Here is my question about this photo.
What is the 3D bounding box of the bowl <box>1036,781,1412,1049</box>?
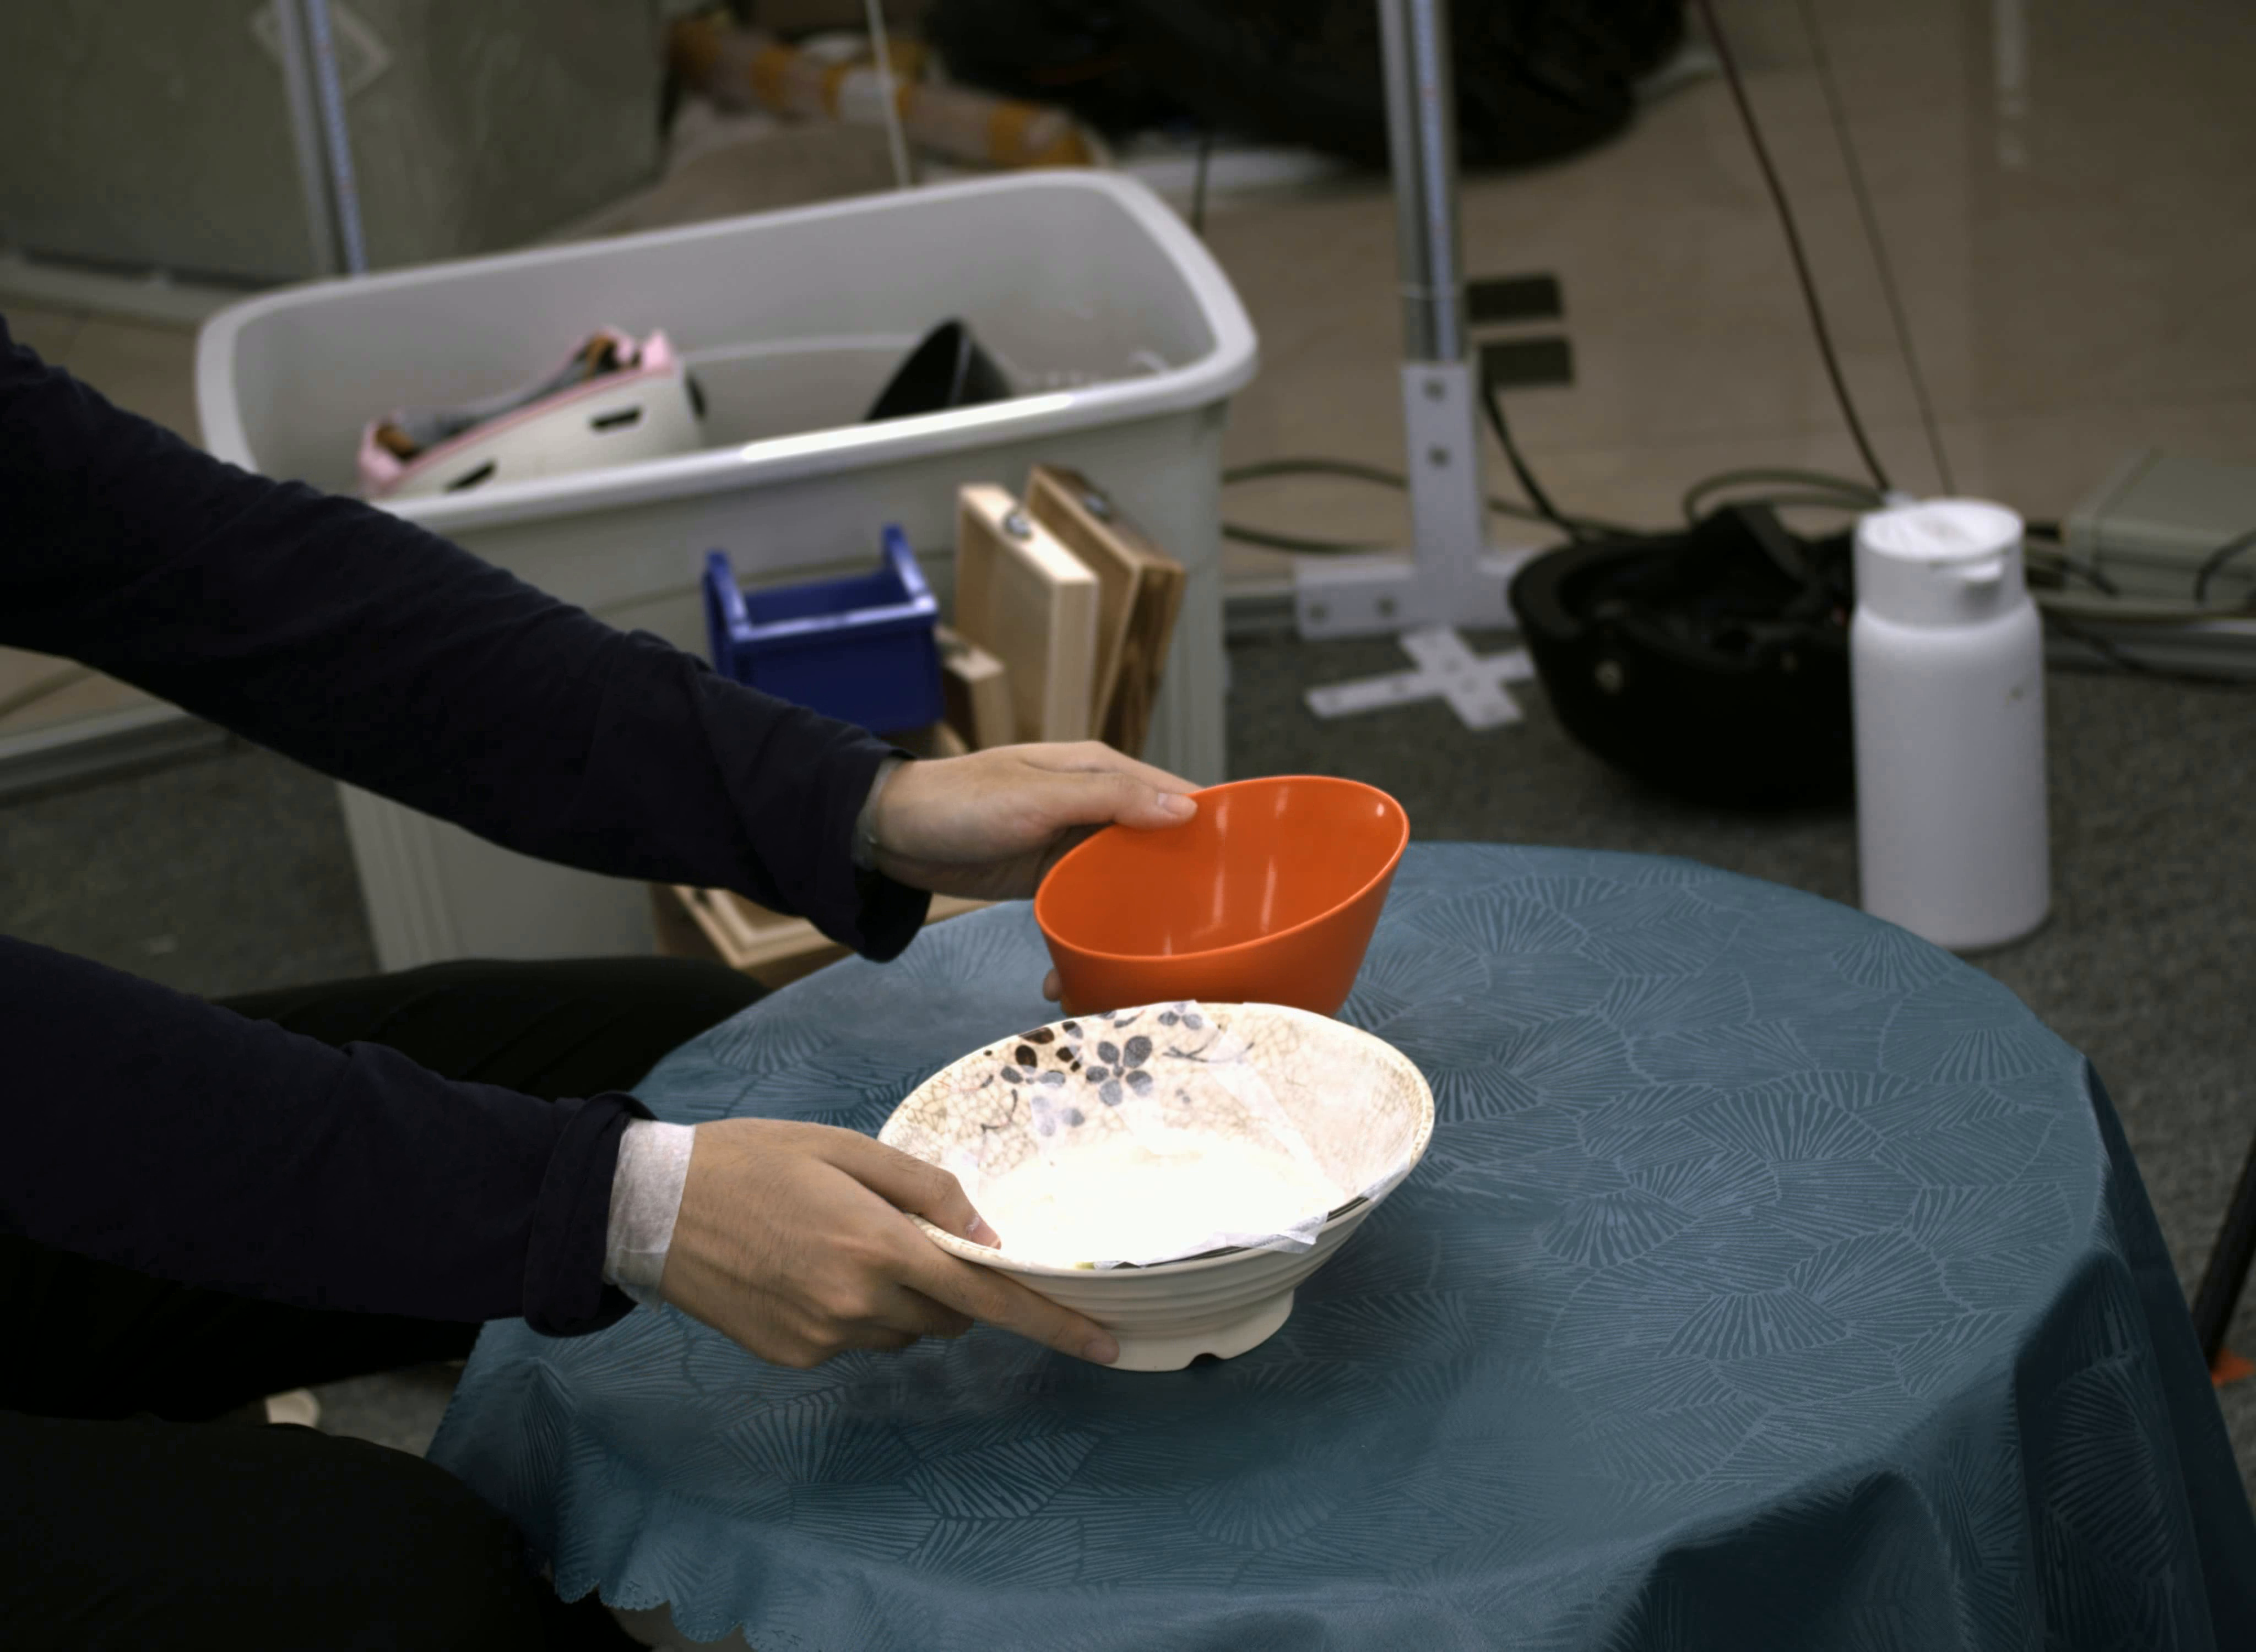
[{"bbox_3d":[0.040,0.054,2.204,0.148,0.106,0.146,-5,25,2],"label":"bowl"}]

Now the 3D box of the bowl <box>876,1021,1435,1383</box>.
[{"bbox_3d":[0.015,0.146,2.047,0.204,0.079,0.201,-9,22,4],"label":"bowl"}]
